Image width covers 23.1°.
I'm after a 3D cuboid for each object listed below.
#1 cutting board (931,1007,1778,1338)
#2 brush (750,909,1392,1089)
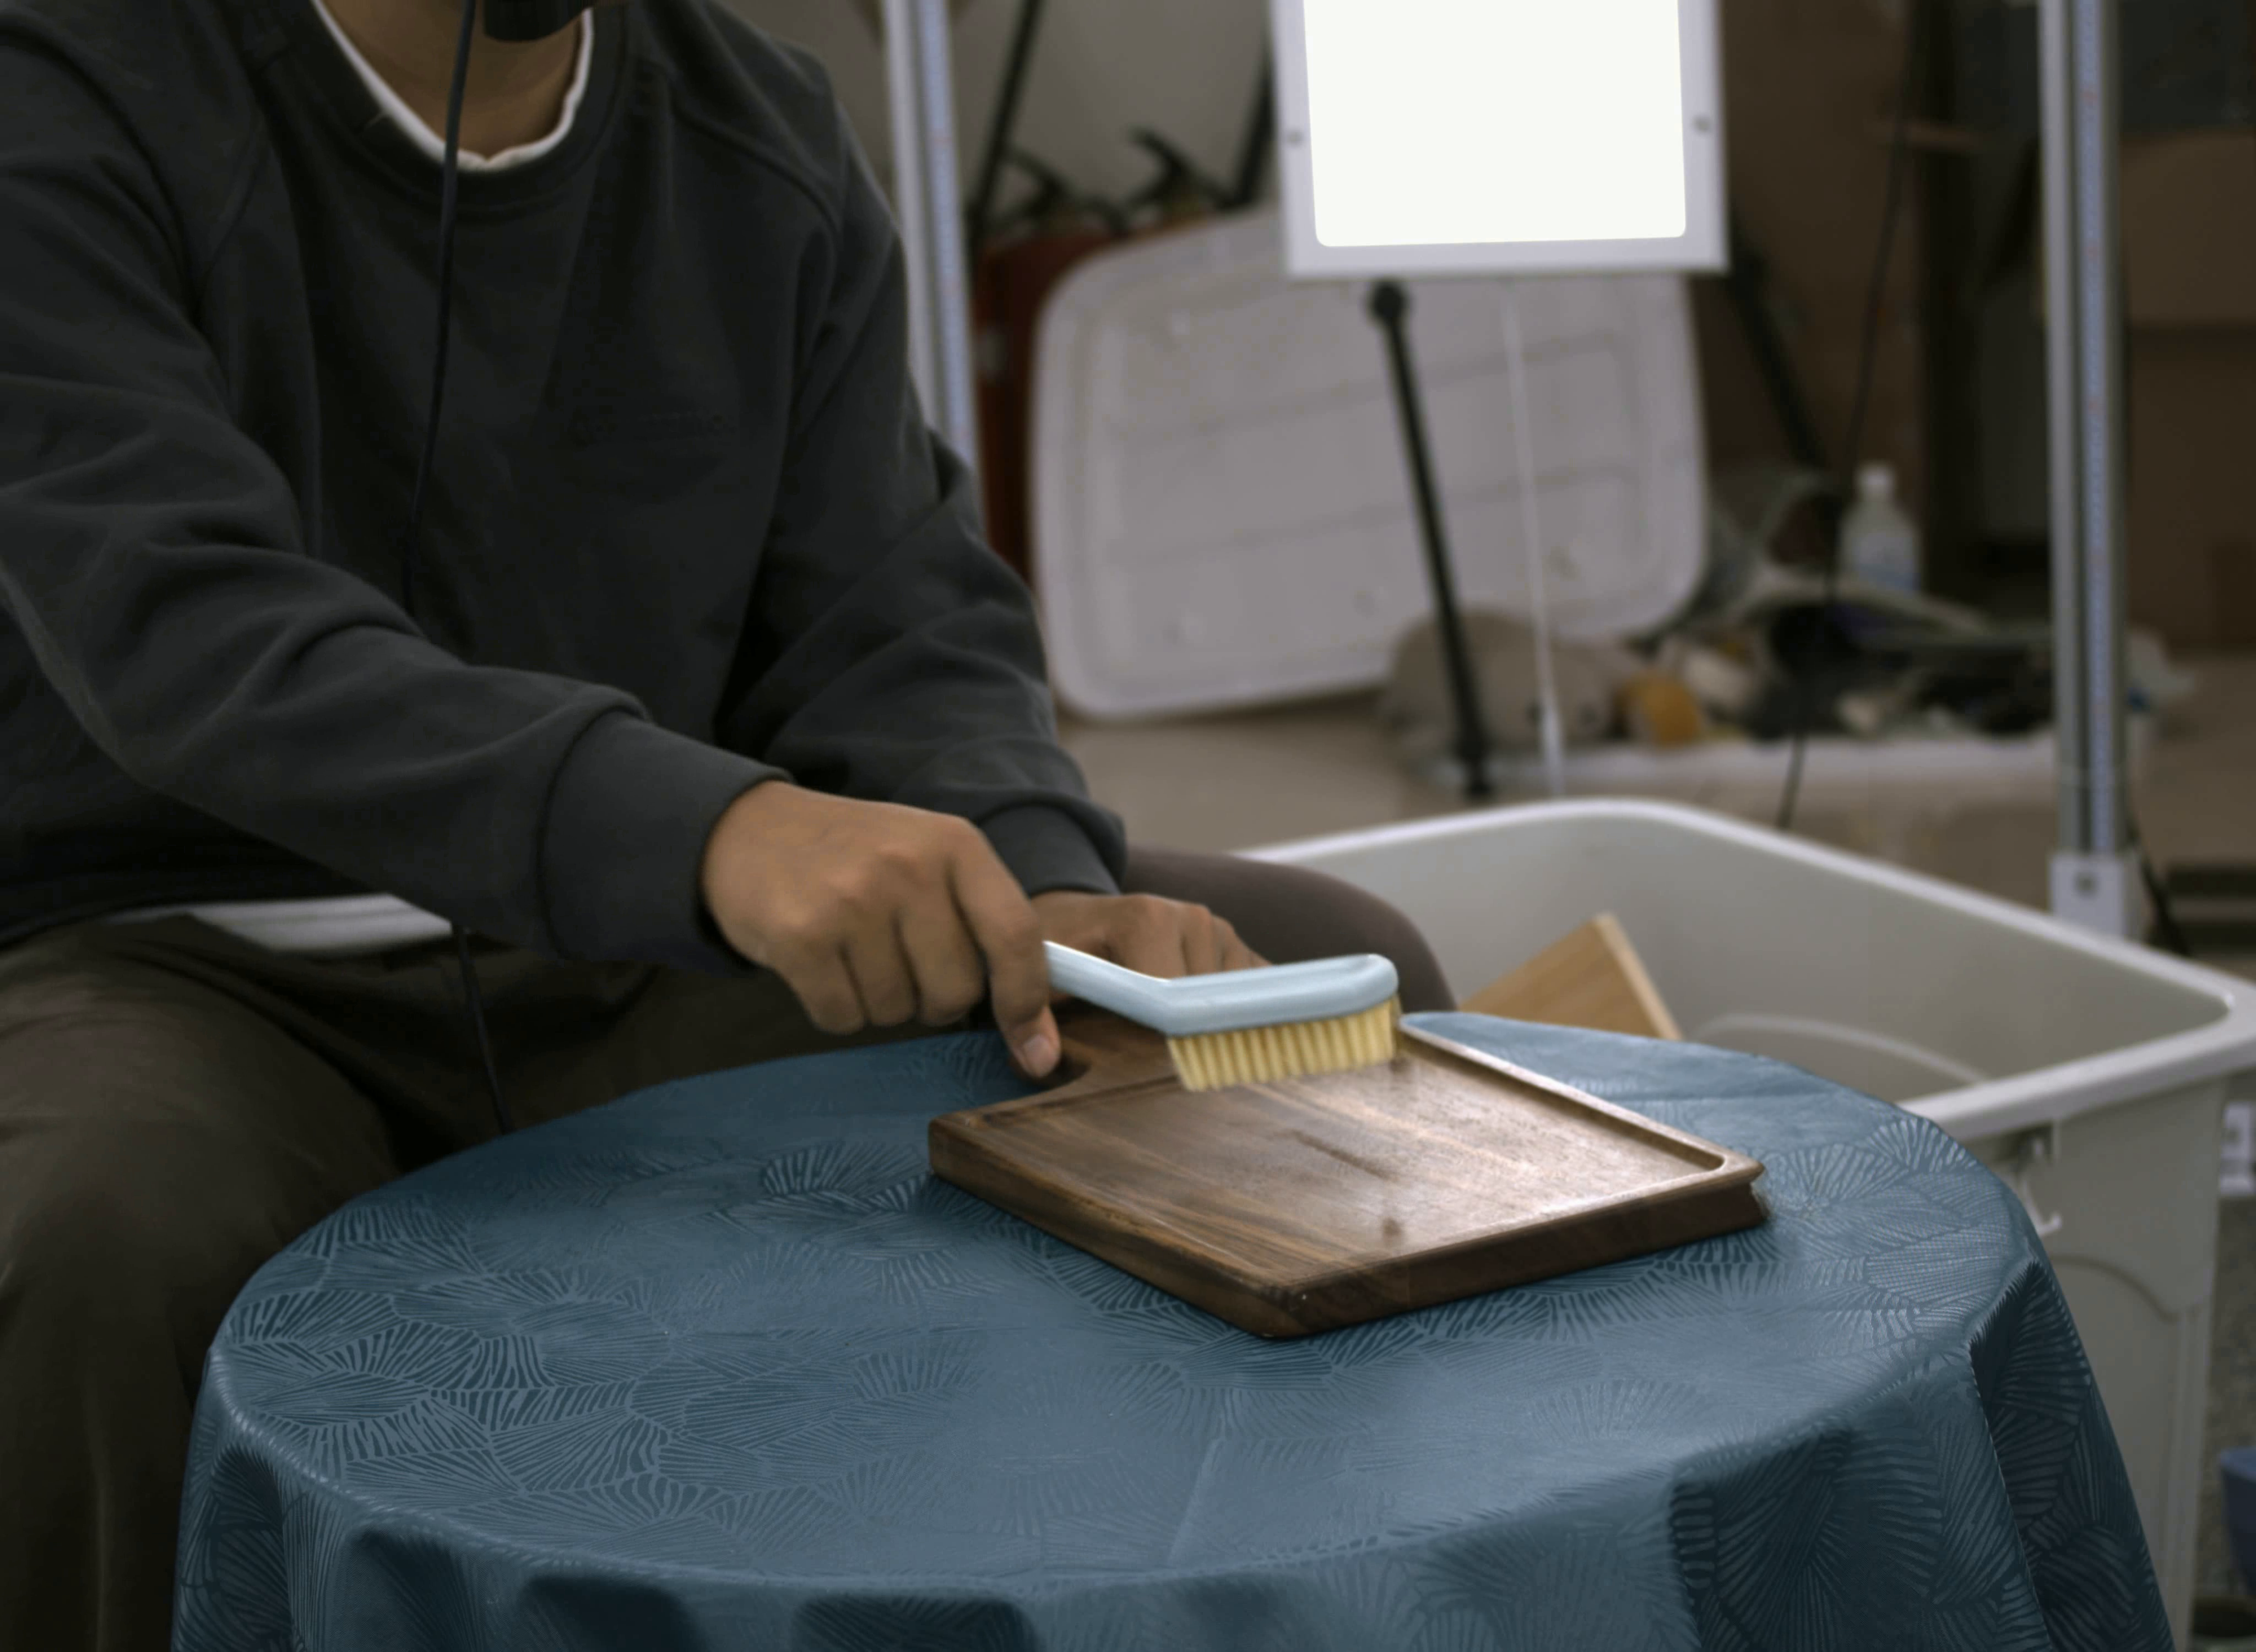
[{"bbox_3d":[0.050,0.107,1.917,0.197,0.023,0.358,-11,15,-25],"label":"cutting board"},{"bbox_3d":[-0.021,0.059,1.886,0.231,0.050,0.037,5,19,18],"label":"brush"}]
